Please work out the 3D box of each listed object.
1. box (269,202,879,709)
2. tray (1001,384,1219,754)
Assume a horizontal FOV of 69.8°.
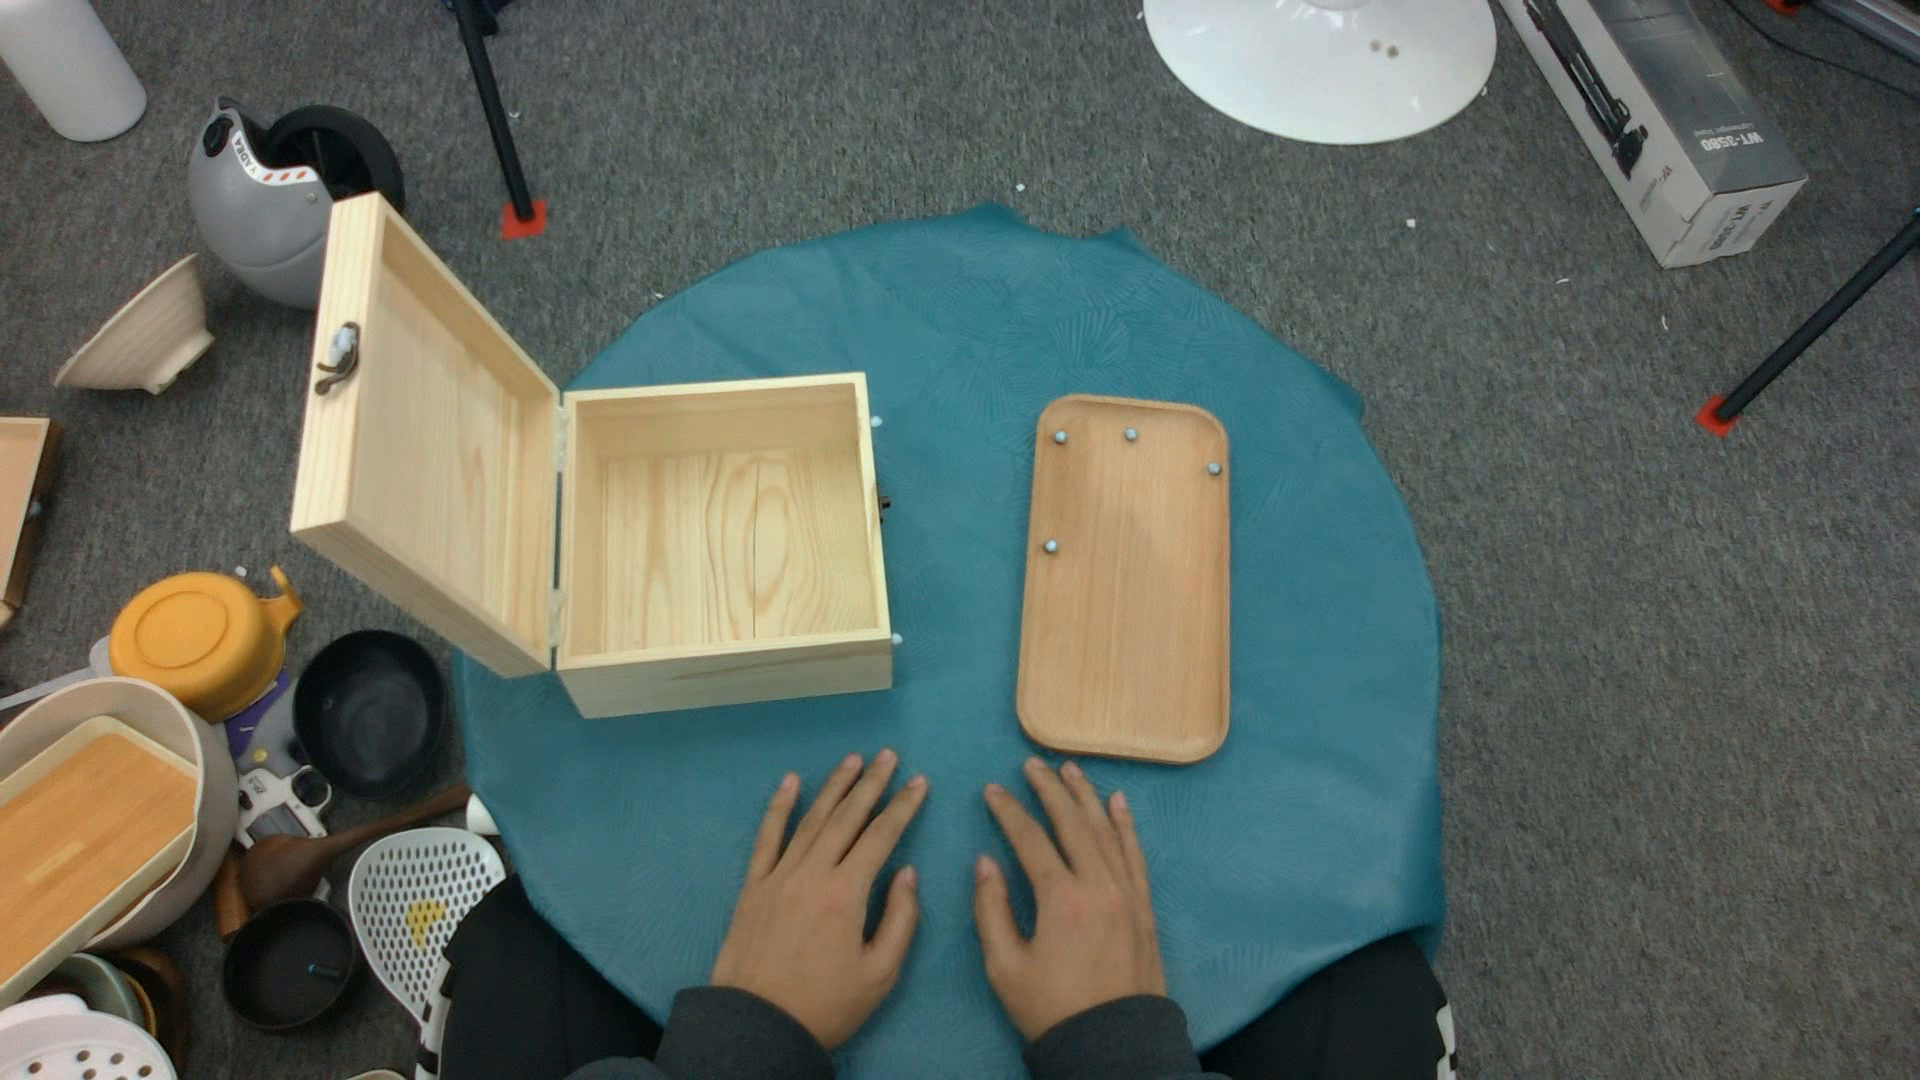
[{"bbox_3d":[-0.179,-0.040,0.741,0.265,0.252,0.182,-6,65,-5],"label":"box"},{"bbox_3d":[0.096,0.012,0.858,0.130,0.023,0.251,5,62,2],"label":"tray"}]
